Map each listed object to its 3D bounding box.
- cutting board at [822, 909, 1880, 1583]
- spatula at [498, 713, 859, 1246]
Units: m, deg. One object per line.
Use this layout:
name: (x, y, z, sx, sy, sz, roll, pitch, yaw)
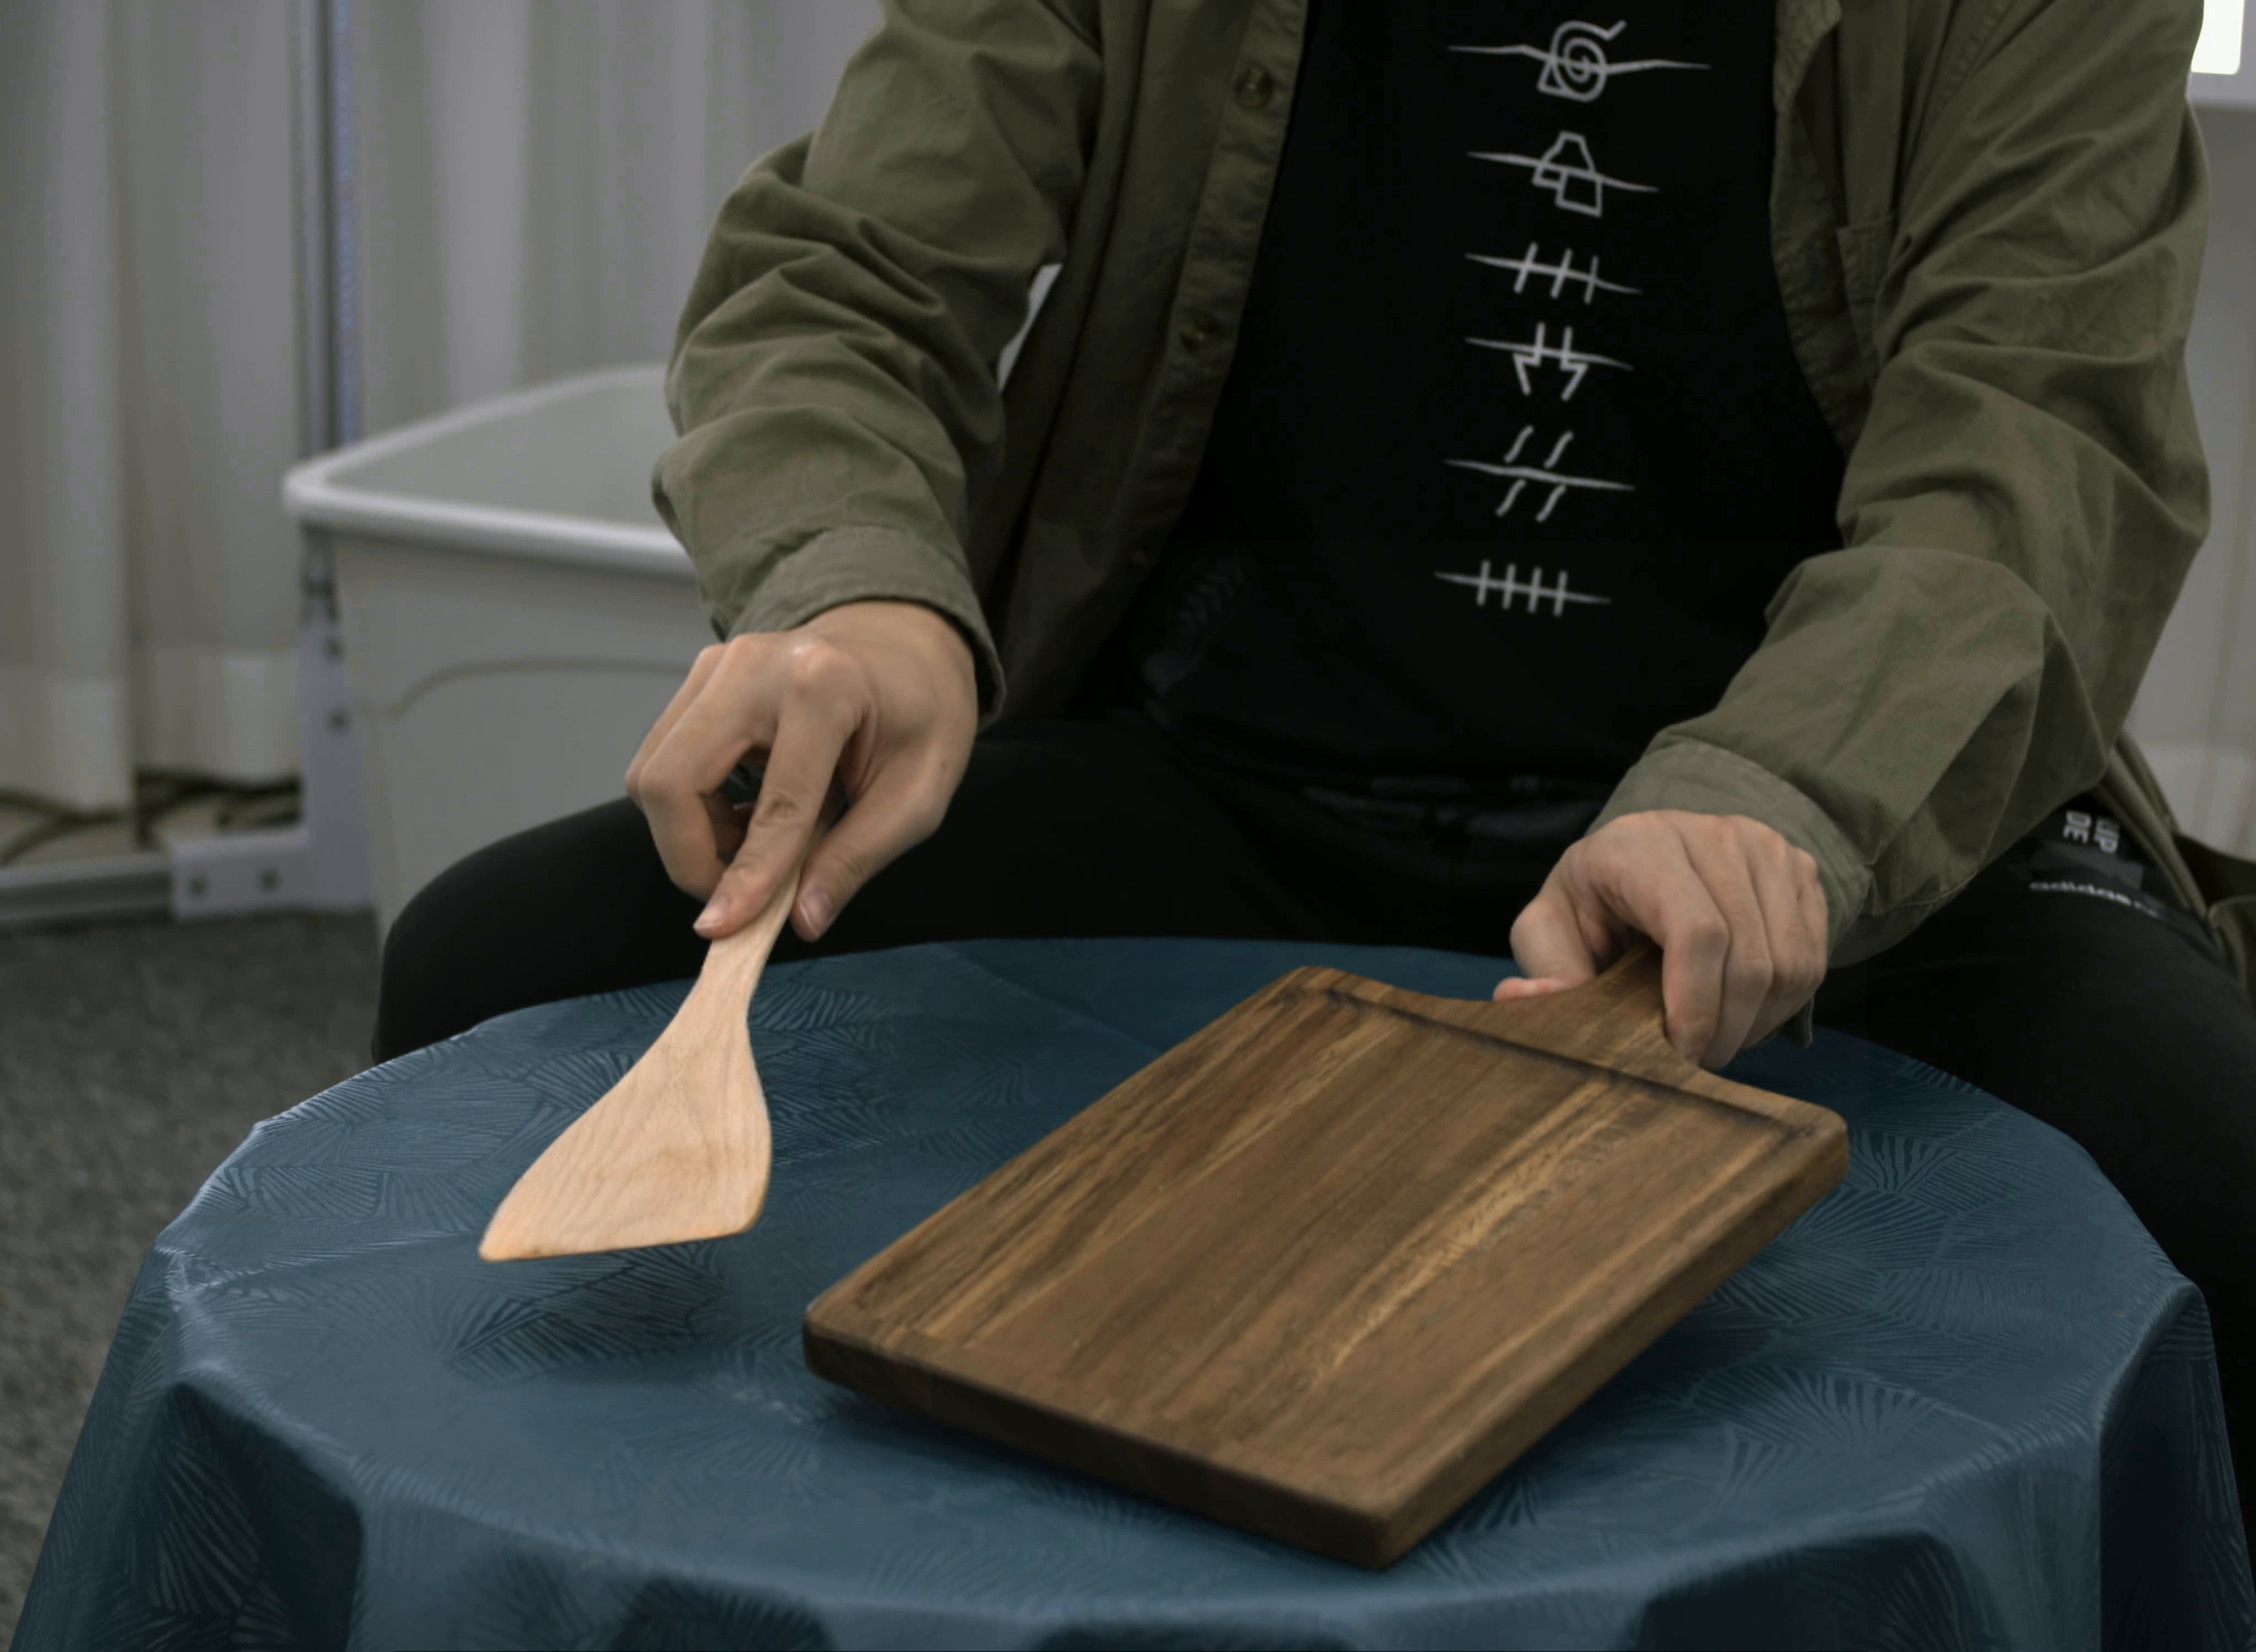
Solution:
cutting board: (0.096, 0.100, 1.509, 0.198, 0.023, 0.353, 17, 32, 34)
spatula: (-0.121, 0.041, 1.622, 0.079, 0.017, 0.325, -2, 30, 9)
